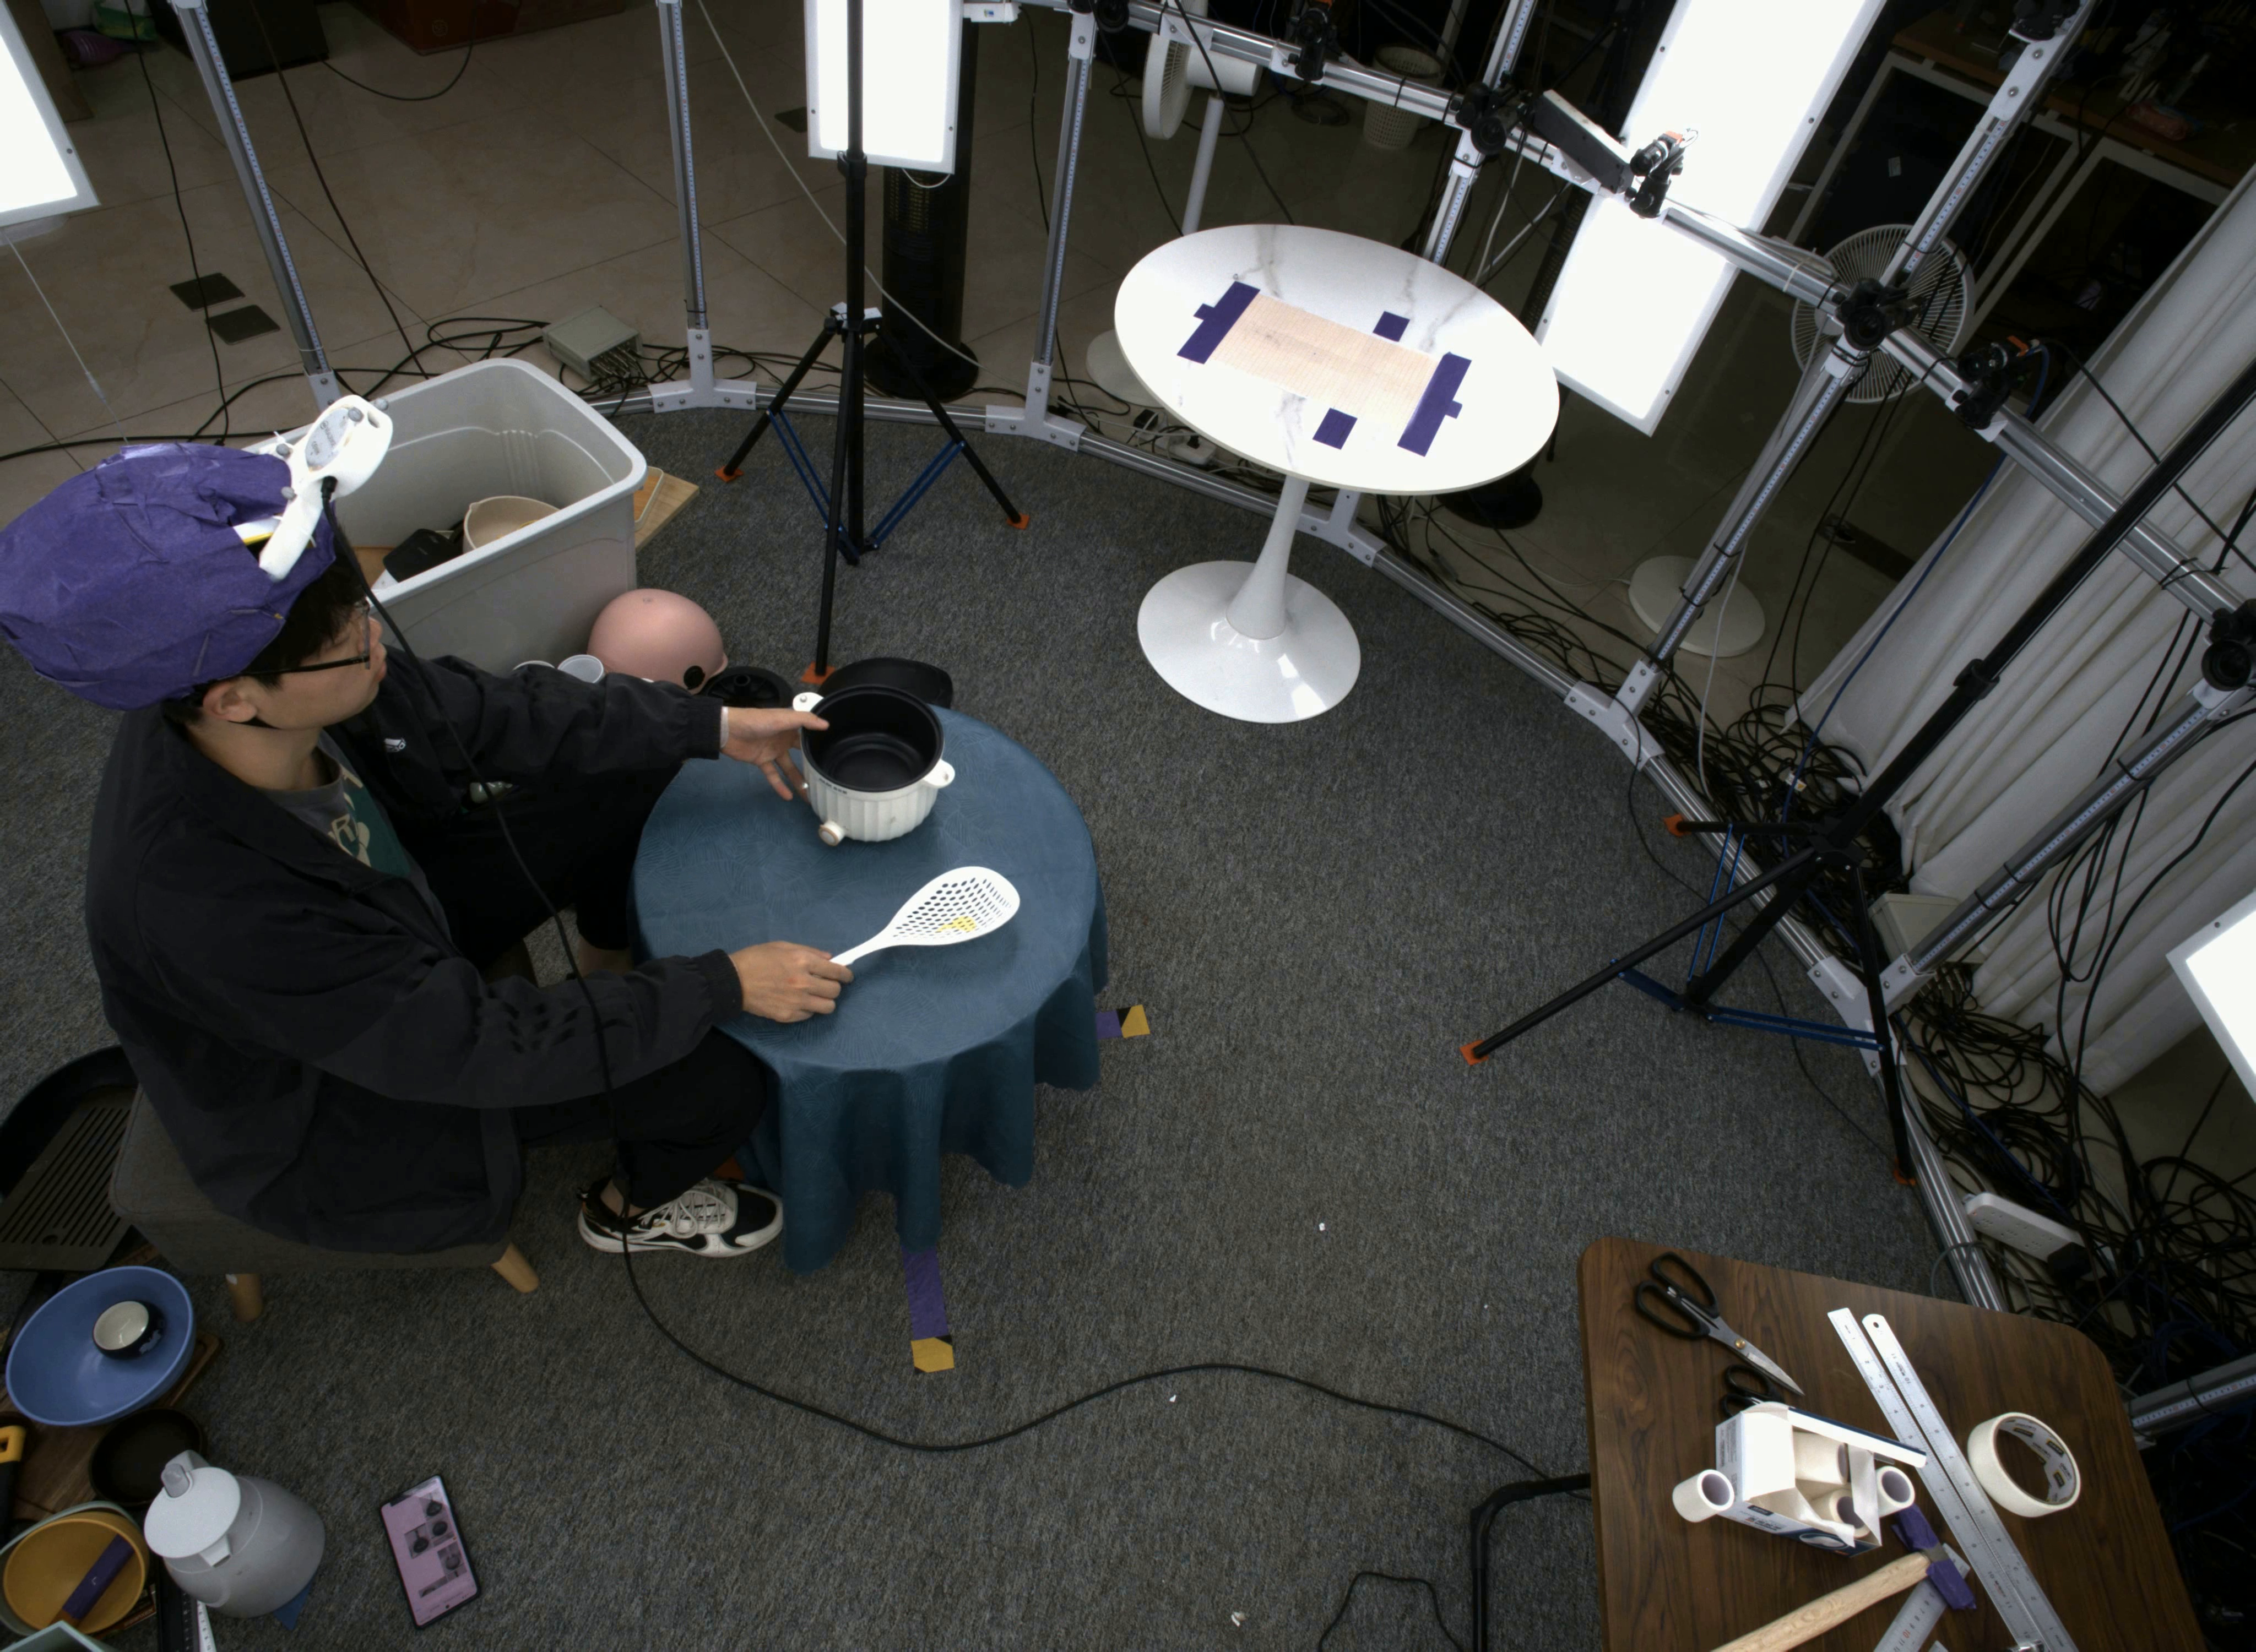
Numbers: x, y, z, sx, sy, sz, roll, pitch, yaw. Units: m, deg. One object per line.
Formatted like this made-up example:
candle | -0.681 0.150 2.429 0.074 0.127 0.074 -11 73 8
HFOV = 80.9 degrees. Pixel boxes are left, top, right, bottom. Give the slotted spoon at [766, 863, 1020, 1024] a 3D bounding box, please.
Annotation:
slotted spoon | -0.294 0.147 1.615 0.350 0.052 0.132 -23 45 -29

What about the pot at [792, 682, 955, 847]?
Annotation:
pot | -0.339 -0.073 1.711 0.236 0.146 0.189 26 49 9
